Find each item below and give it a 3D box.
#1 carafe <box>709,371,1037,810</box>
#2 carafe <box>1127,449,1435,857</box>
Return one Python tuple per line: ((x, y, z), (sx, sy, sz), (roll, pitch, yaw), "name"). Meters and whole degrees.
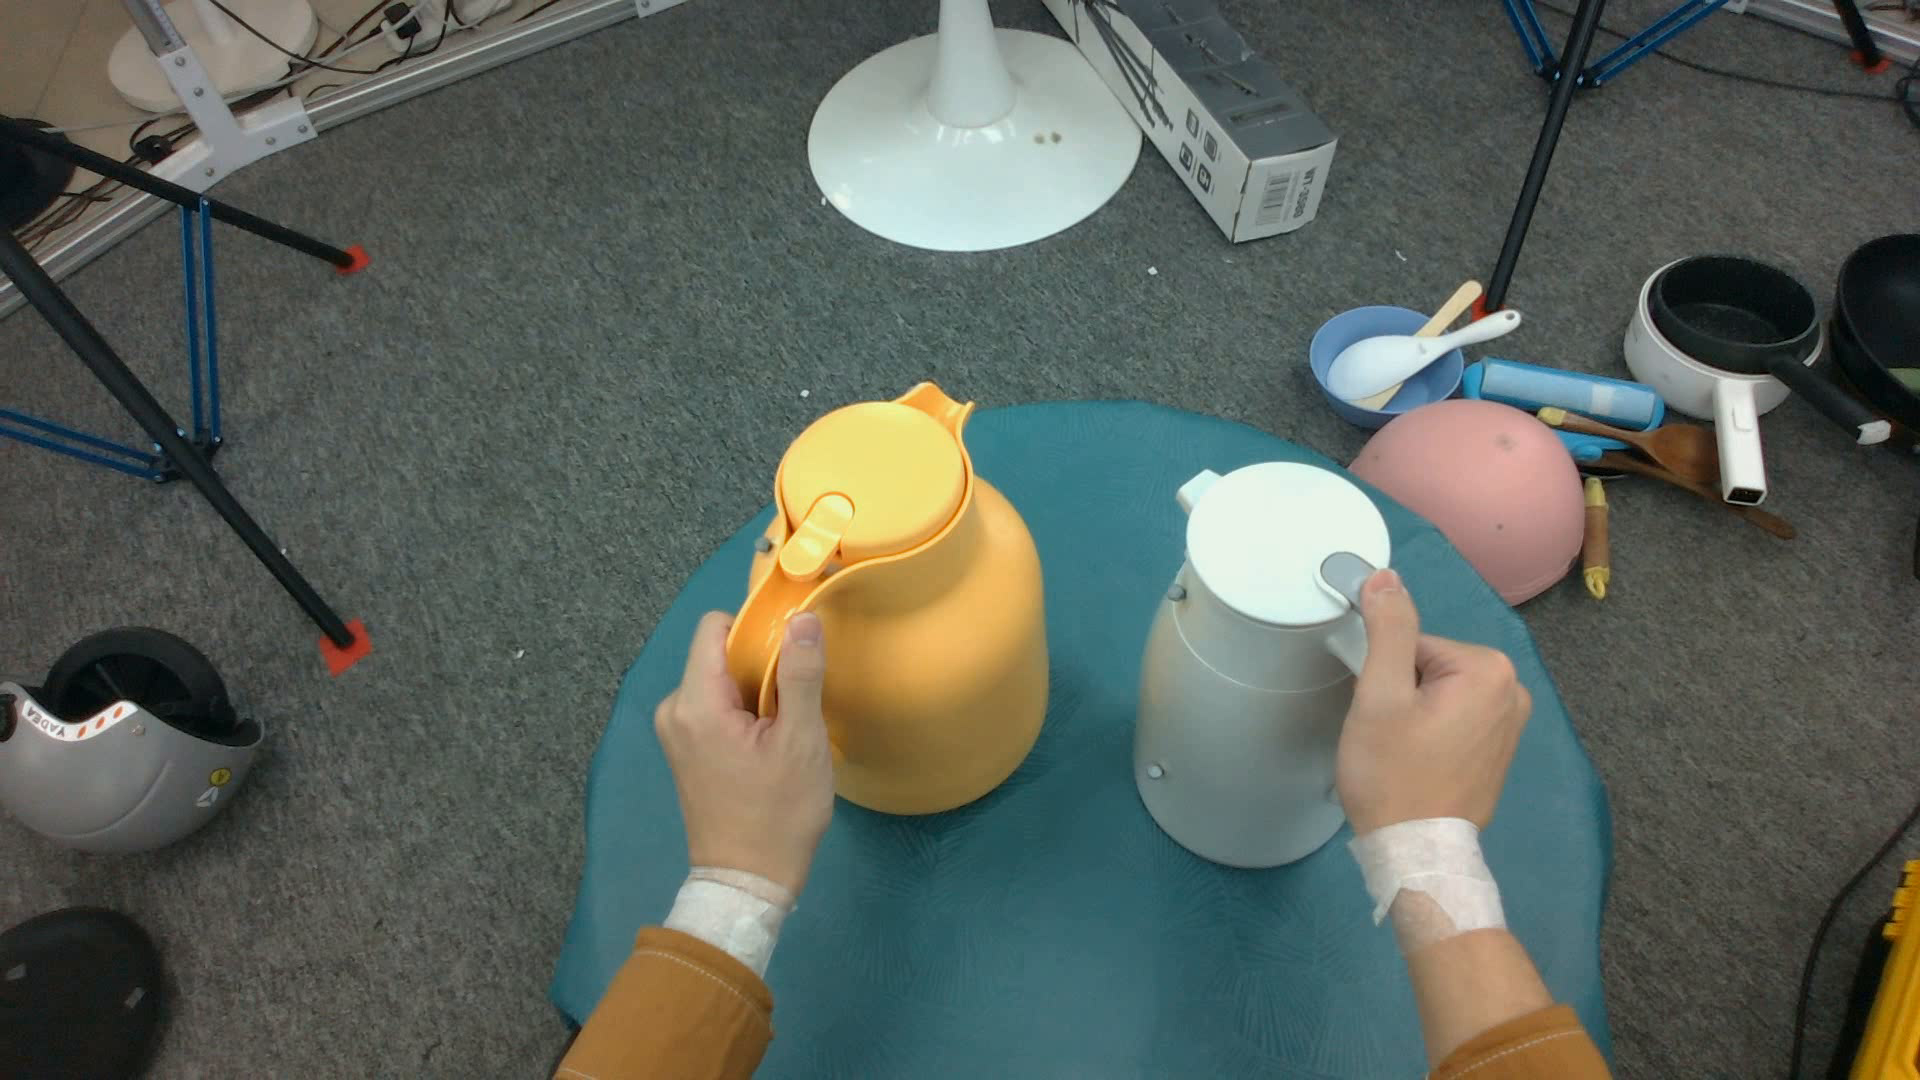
((-0.052, 0.044, 0.748), (0.163, 0.259, 0.203), (28, 60, 22), "carafe")
((0.169, 0.070, 0.720), (0.133, 0.247, 0.168), (-36, 60, -18), "carafe")
